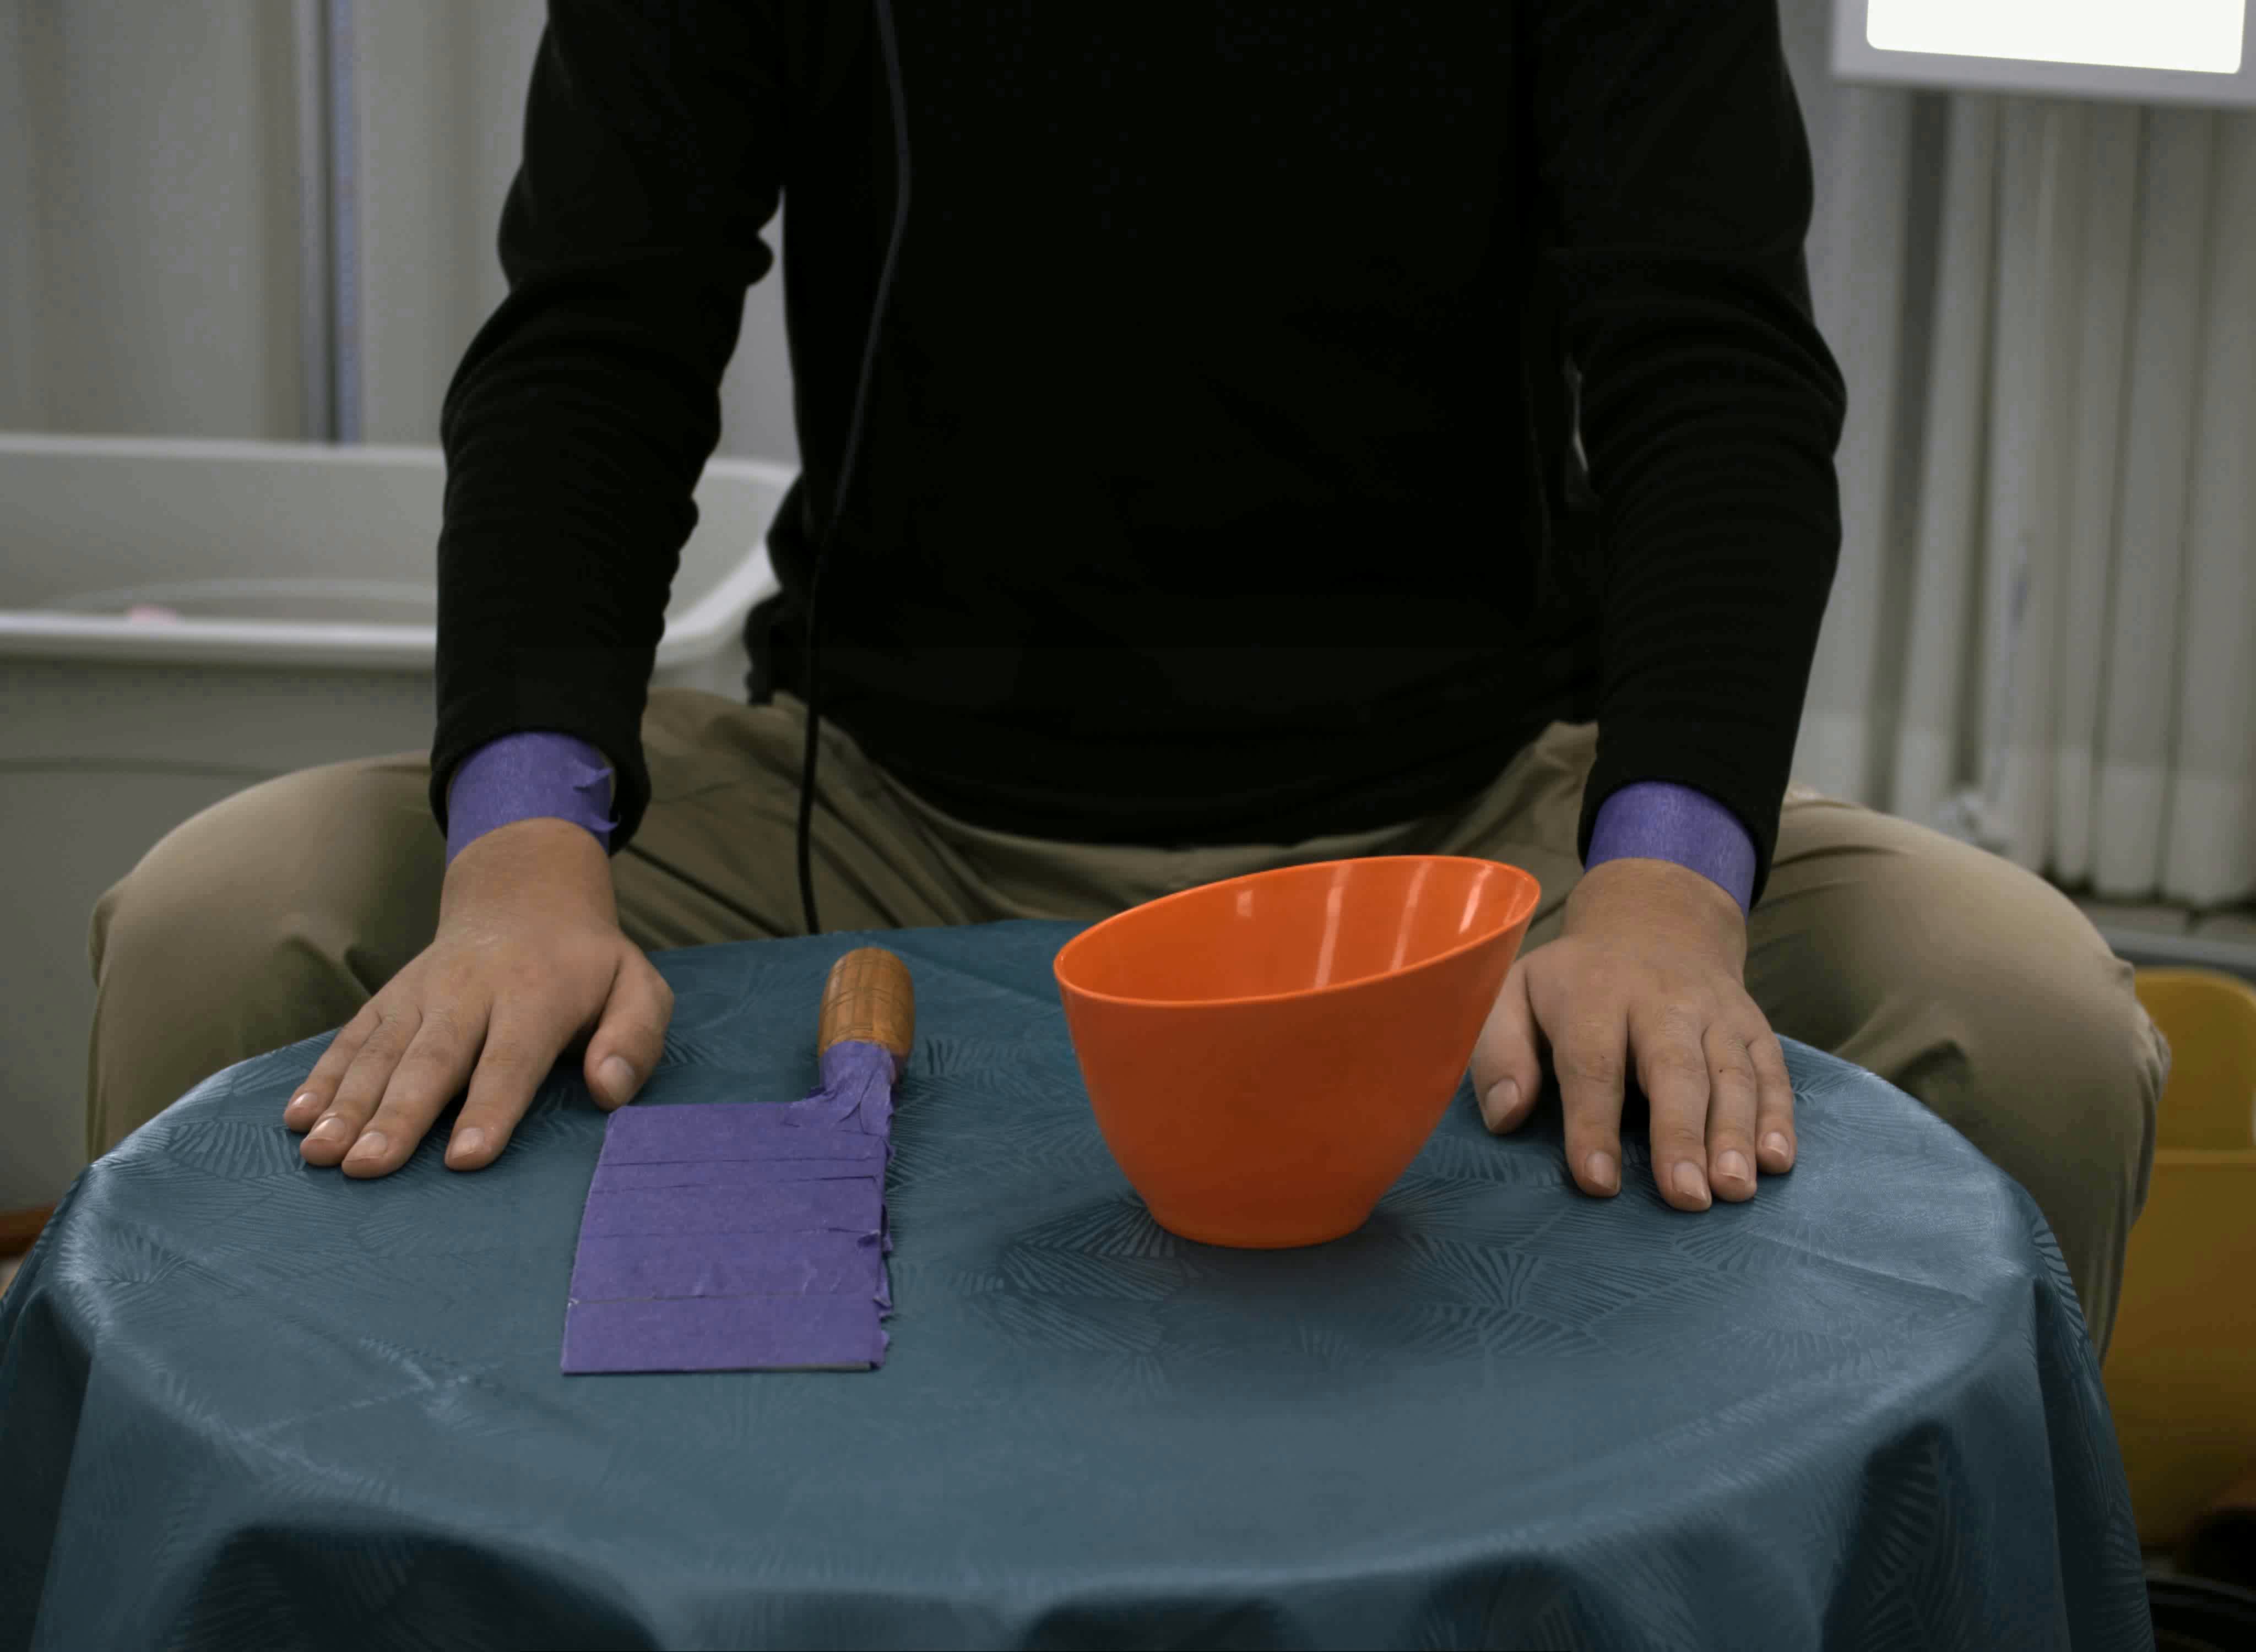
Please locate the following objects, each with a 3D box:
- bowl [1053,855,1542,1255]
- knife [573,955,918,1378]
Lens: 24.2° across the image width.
[{"bbox_3d":[0.051,0.070,1.587,0.147,0.105,0.147,0,17,1],"label":"bowl"},{"bbox_3d":[-0.115,0.100,1.613,0.103,0.032,0.313,0,16,-2],"label":"knife"}]
